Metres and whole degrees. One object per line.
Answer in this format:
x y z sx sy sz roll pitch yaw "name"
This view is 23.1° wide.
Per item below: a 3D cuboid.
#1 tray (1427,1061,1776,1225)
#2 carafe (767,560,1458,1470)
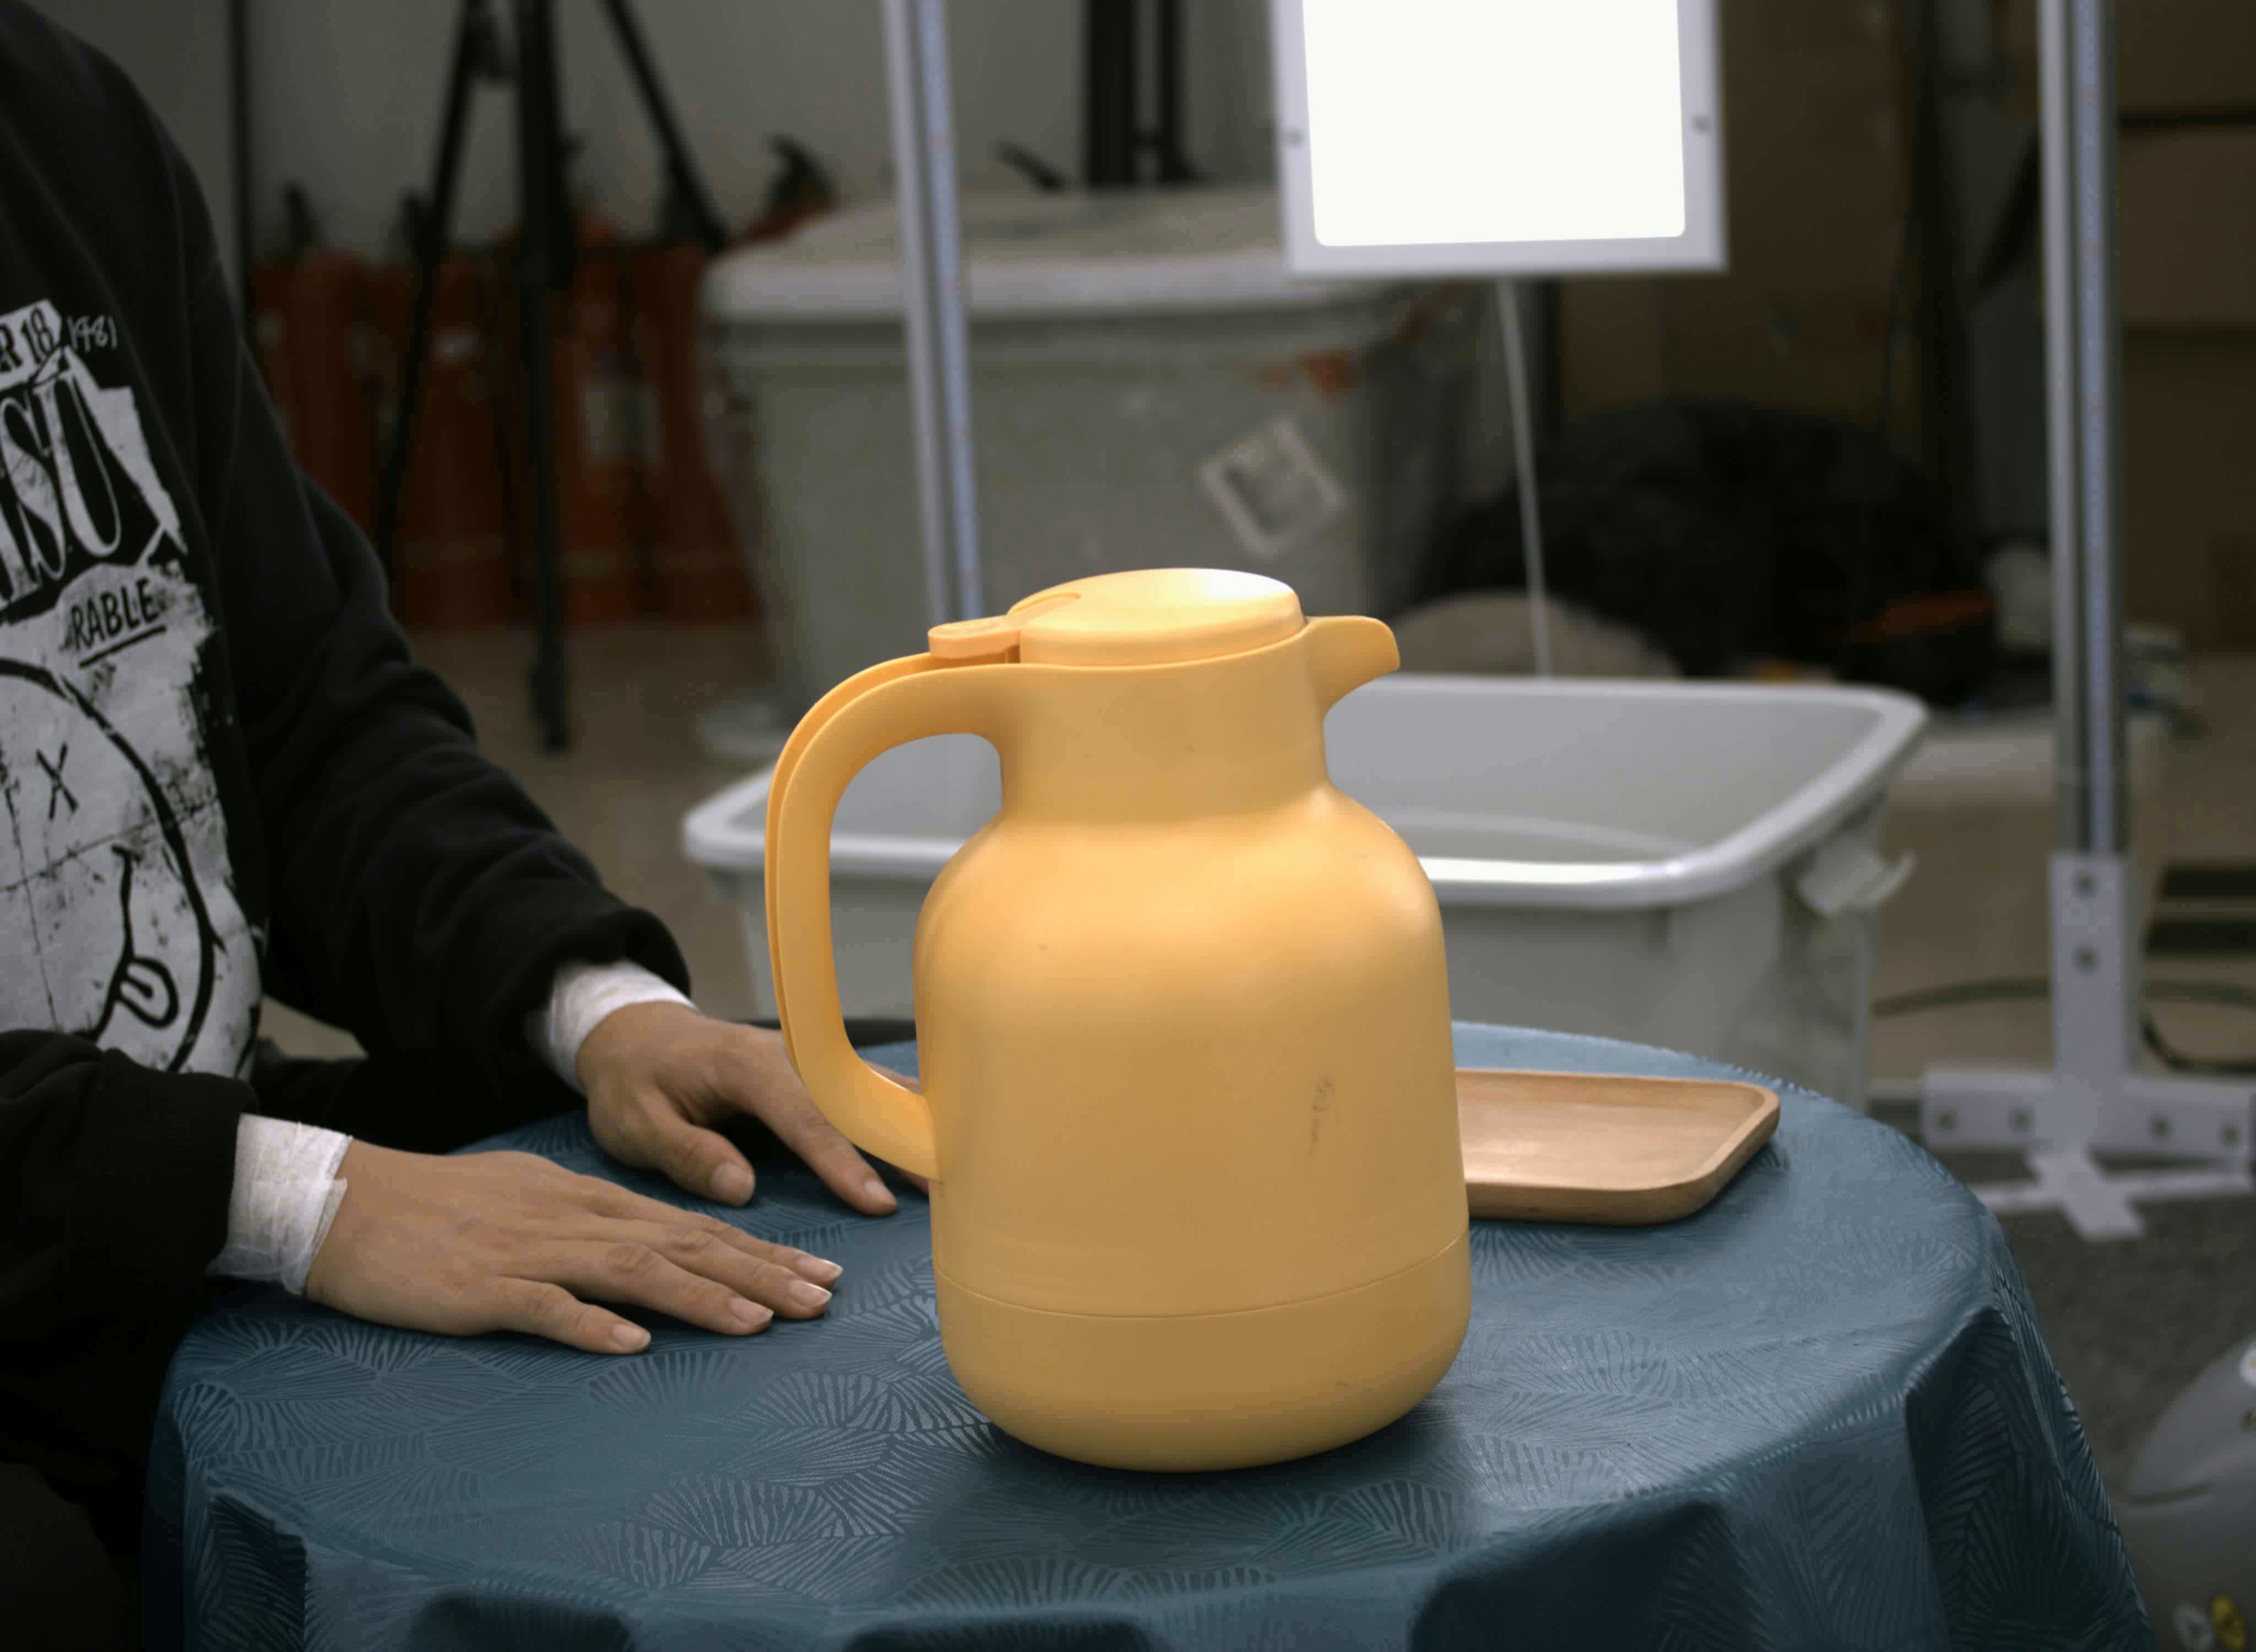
0.094 0.107 1.907 0.255 0.023 0.128 1 13 27 "tray"
-0.005 0.054 1.646 0.201 0.261 0.164 -5 11 -7 "carafe"
